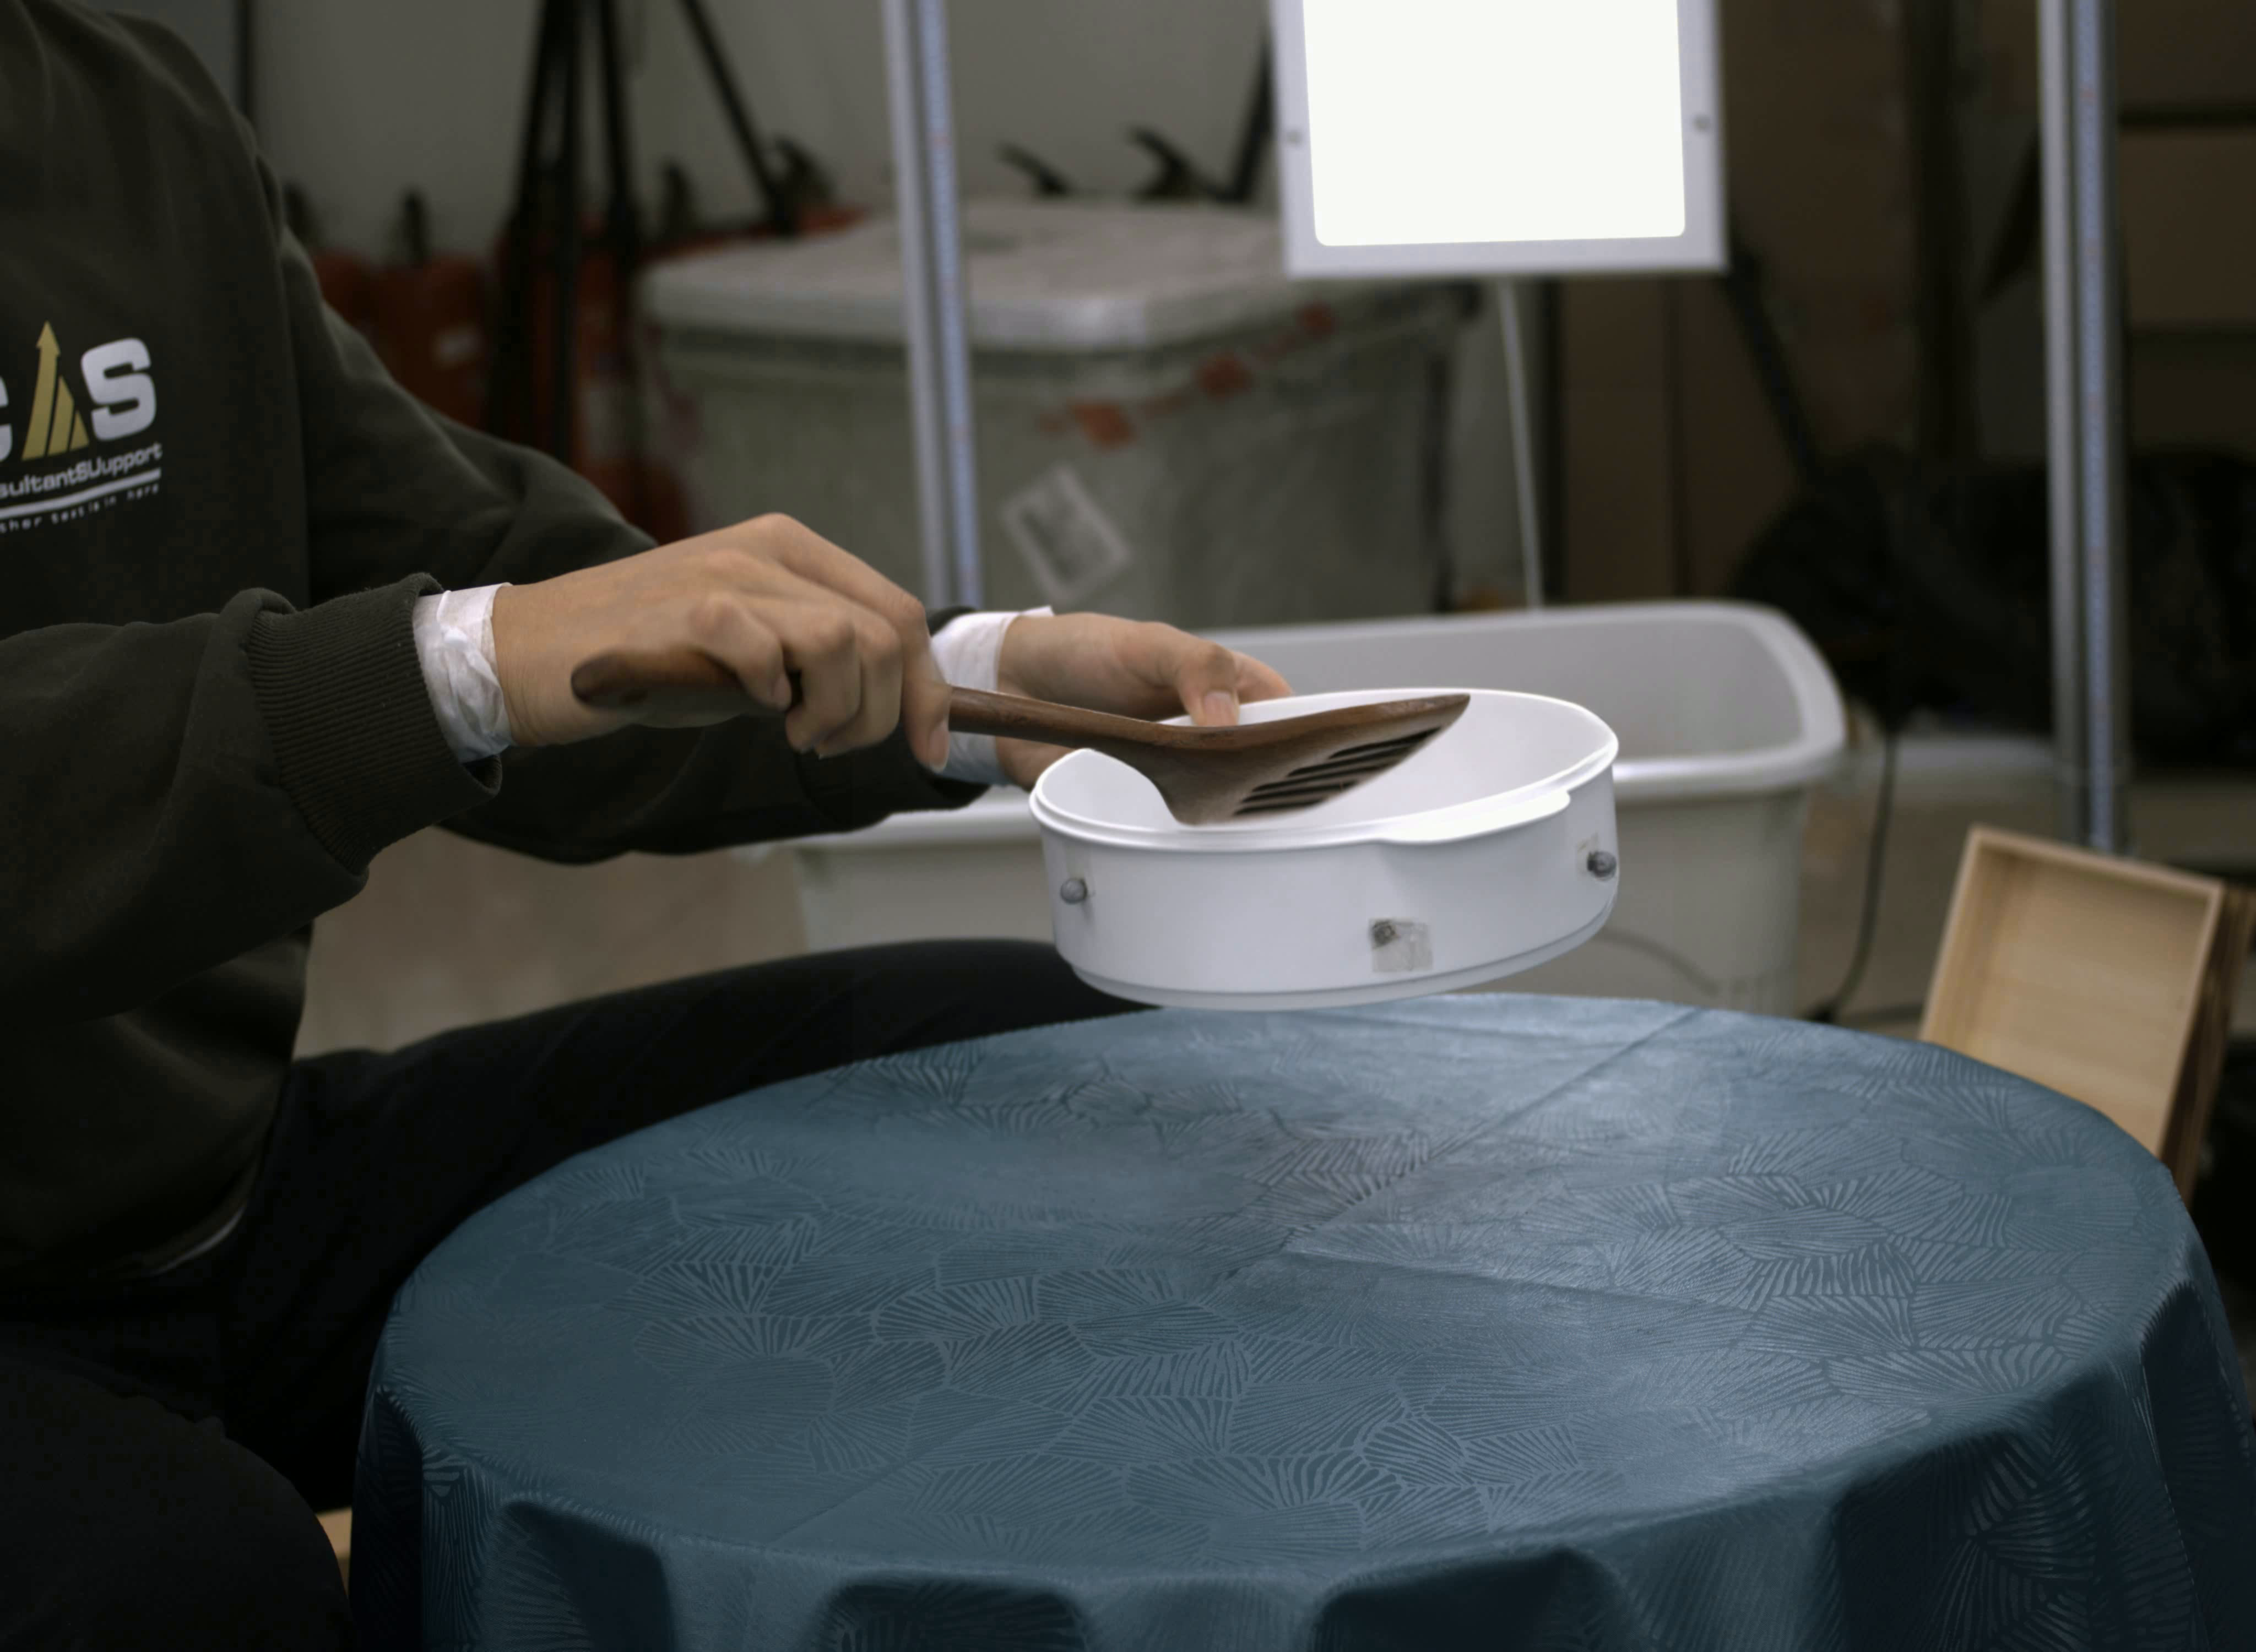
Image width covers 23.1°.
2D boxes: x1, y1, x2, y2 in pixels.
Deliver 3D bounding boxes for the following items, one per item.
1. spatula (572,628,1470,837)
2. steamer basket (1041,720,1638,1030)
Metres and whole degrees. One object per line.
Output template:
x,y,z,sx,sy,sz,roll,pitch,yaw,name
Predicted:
-0.028,-0.031,1.700,0.087,0.024,0.376,-37,-28,33,spatula
0.074,0.017,1.859,0.198,0.069,0.234,-14,11,-25,steamer basket
